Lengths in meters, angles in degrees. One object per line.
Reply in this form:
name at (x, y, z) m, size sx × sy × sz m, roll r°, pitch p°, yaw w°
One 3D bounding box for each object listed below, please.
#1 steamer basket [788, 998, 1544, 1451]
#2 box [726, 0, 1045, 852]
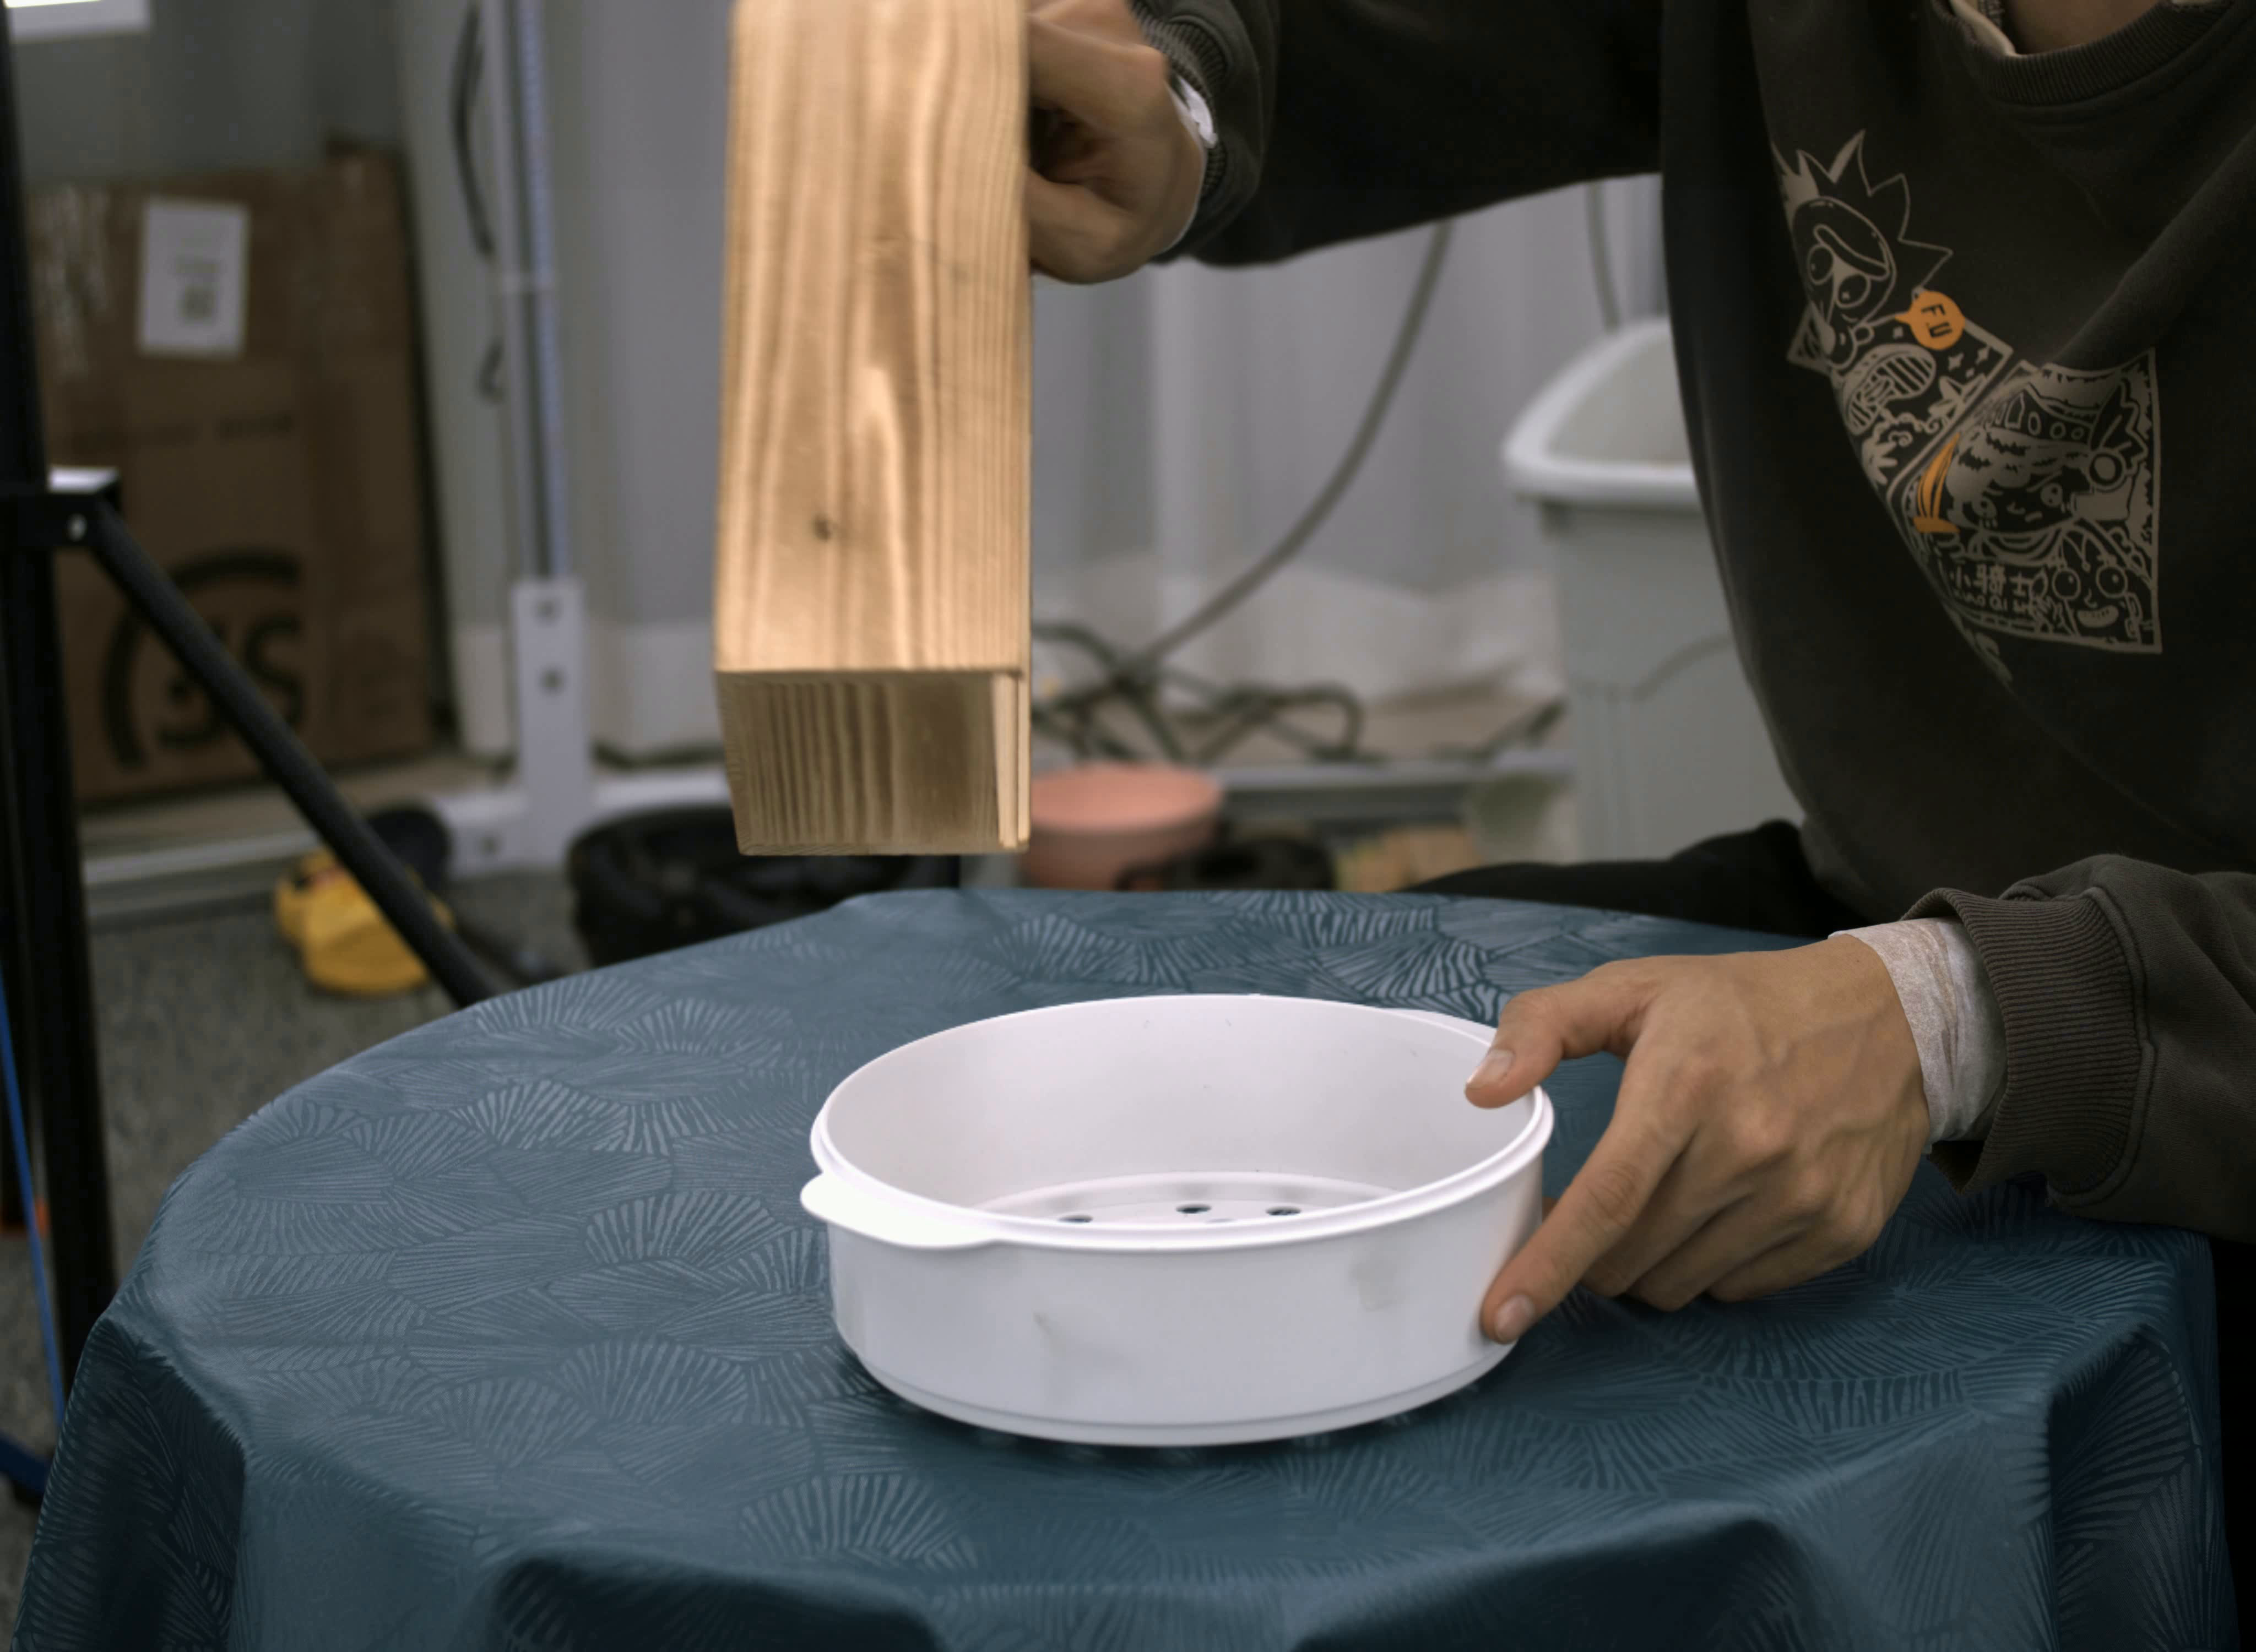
steamer basket at (0.012, 0.107, 1.437) m, size 0.225 × 0.069 × 0.206 m, roll -13°, pitch 19°, yaw -37°
box at (-0.064, -0.111, 1.446) m, size 0.080 × 0.213 × 0.107 m, roll 1°, pitch -27°, yaw -1°
